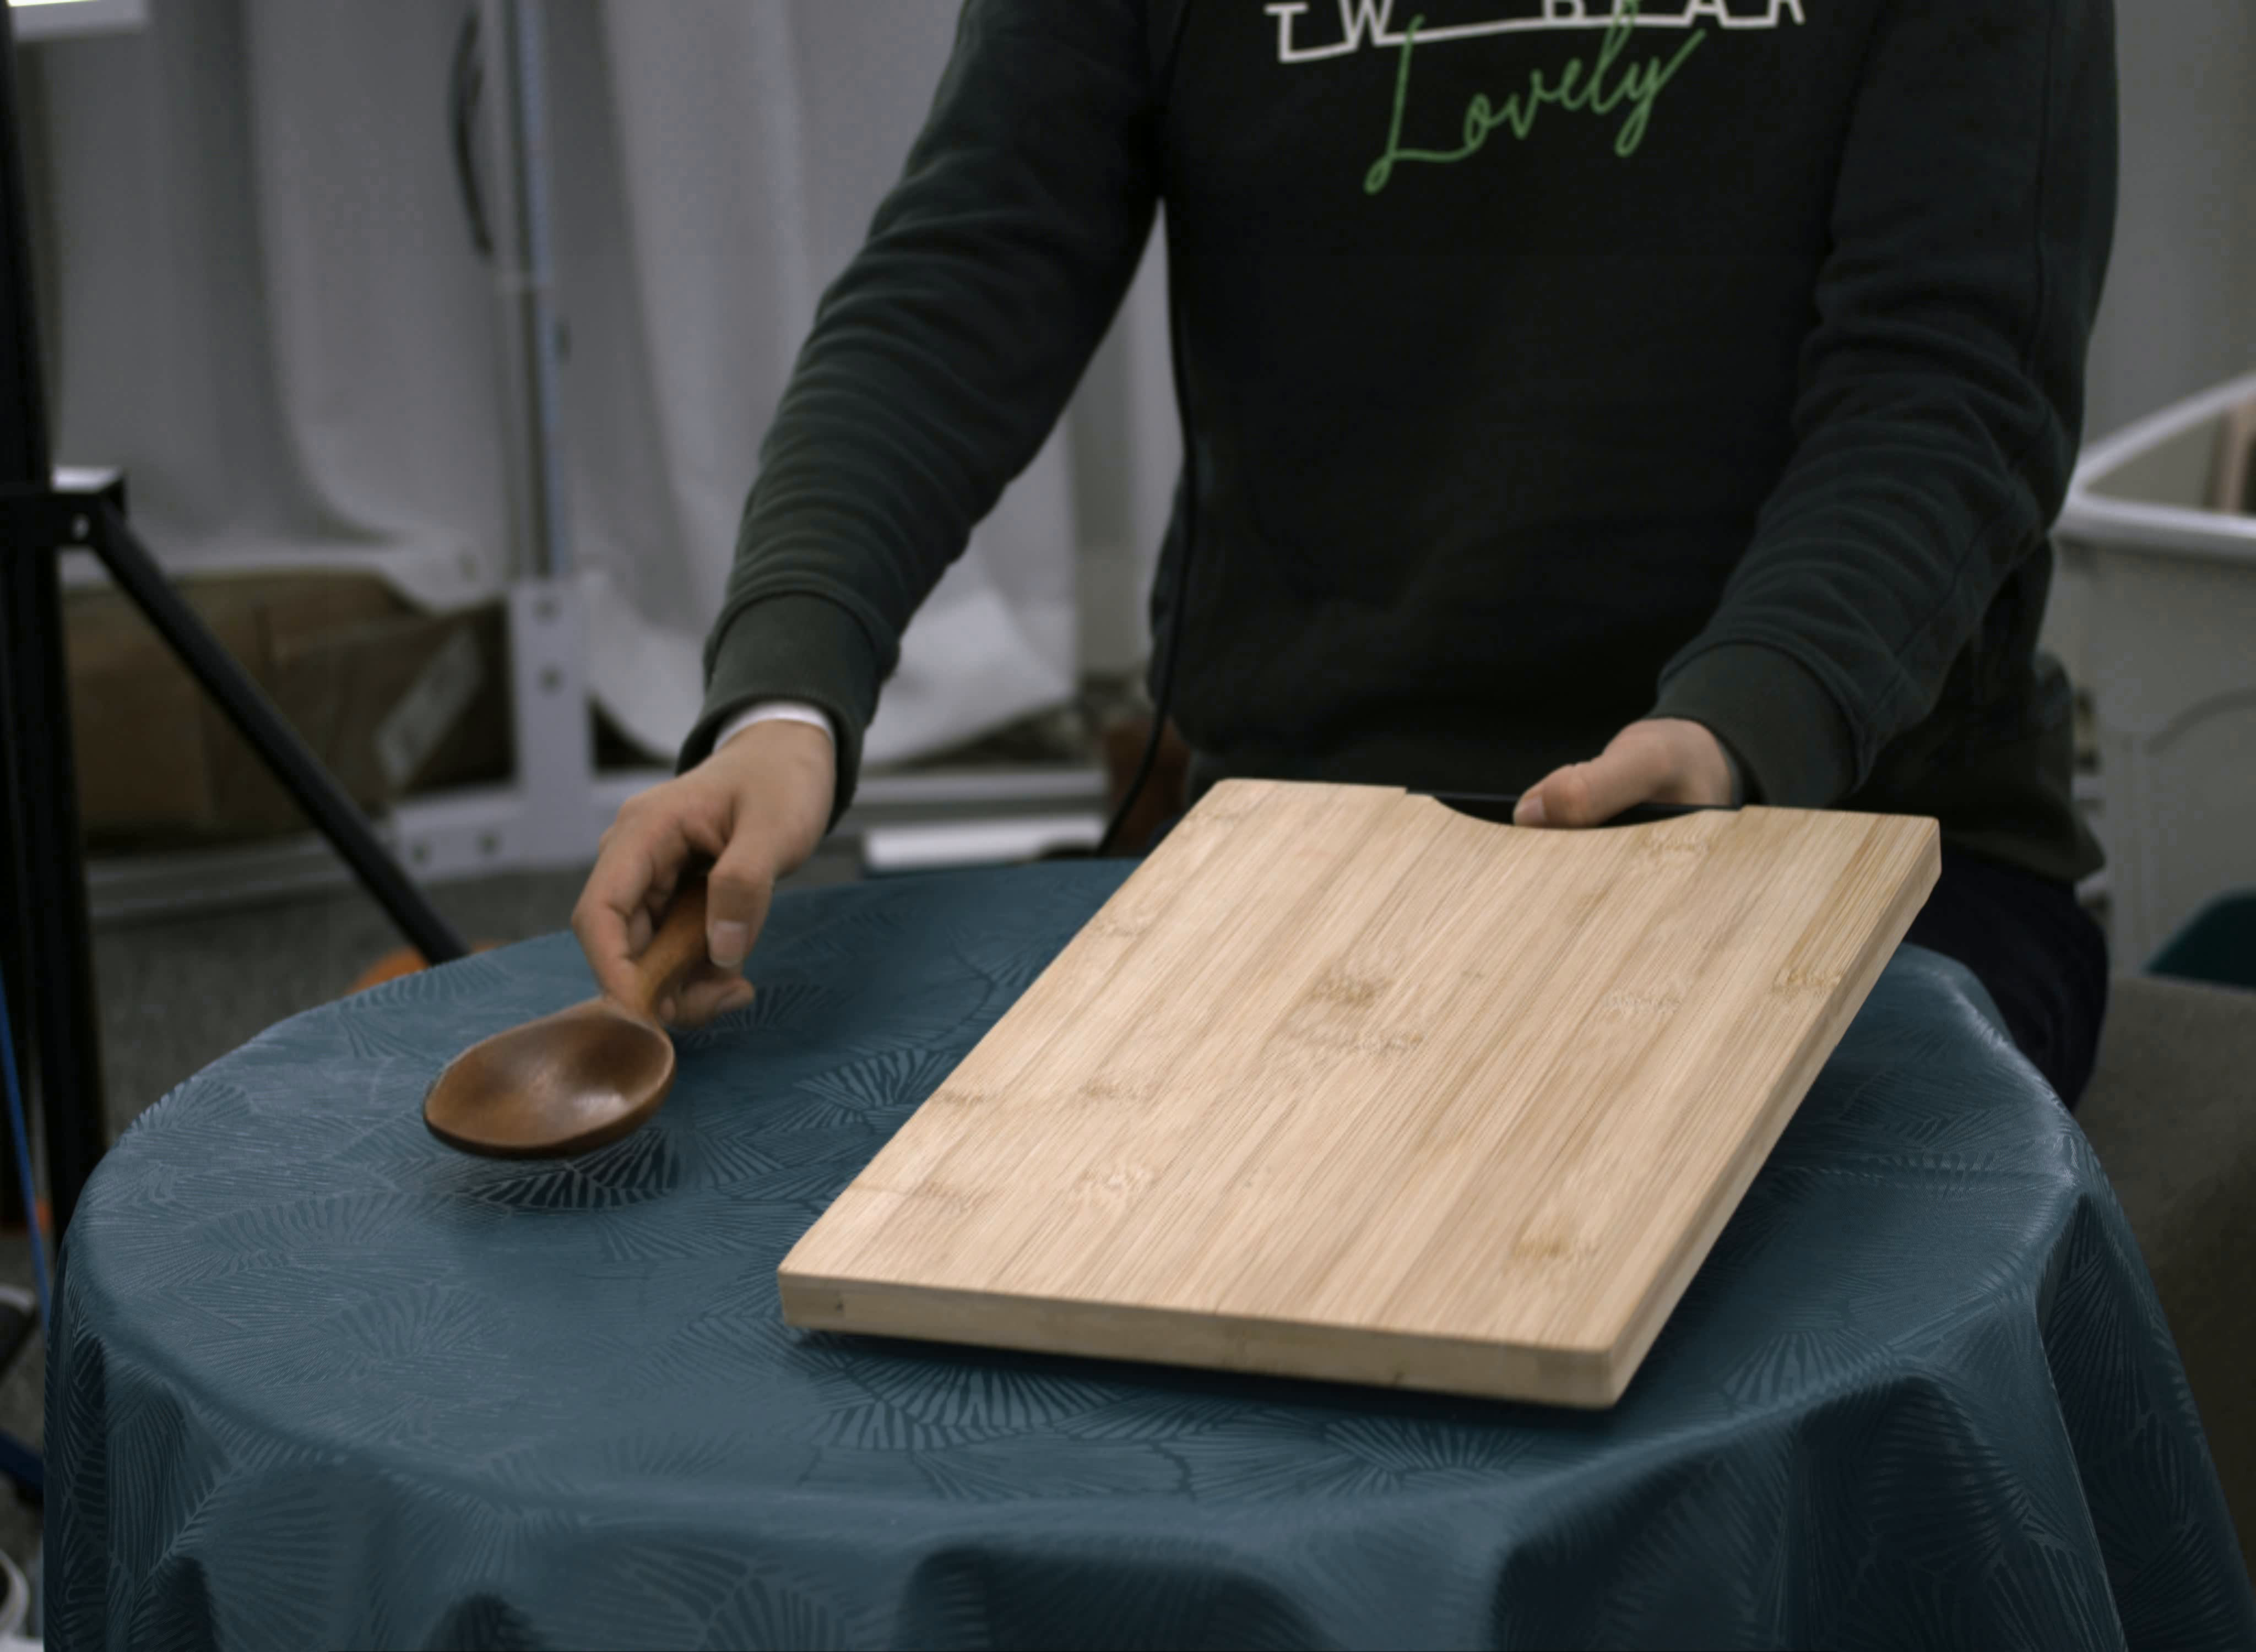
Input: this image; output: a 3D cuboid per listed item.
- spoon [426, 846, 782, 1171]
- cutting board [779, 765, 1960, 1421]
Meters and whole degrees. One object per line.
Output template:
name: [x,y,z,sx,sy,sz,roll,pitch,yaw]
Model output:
spoon: [-0.152,0.058,1.655,0.076,0.017,0.214,0,25,19]
cutting board: [0.080,0.067,1.540,0.254,0.023,0.345,4,26,23]
